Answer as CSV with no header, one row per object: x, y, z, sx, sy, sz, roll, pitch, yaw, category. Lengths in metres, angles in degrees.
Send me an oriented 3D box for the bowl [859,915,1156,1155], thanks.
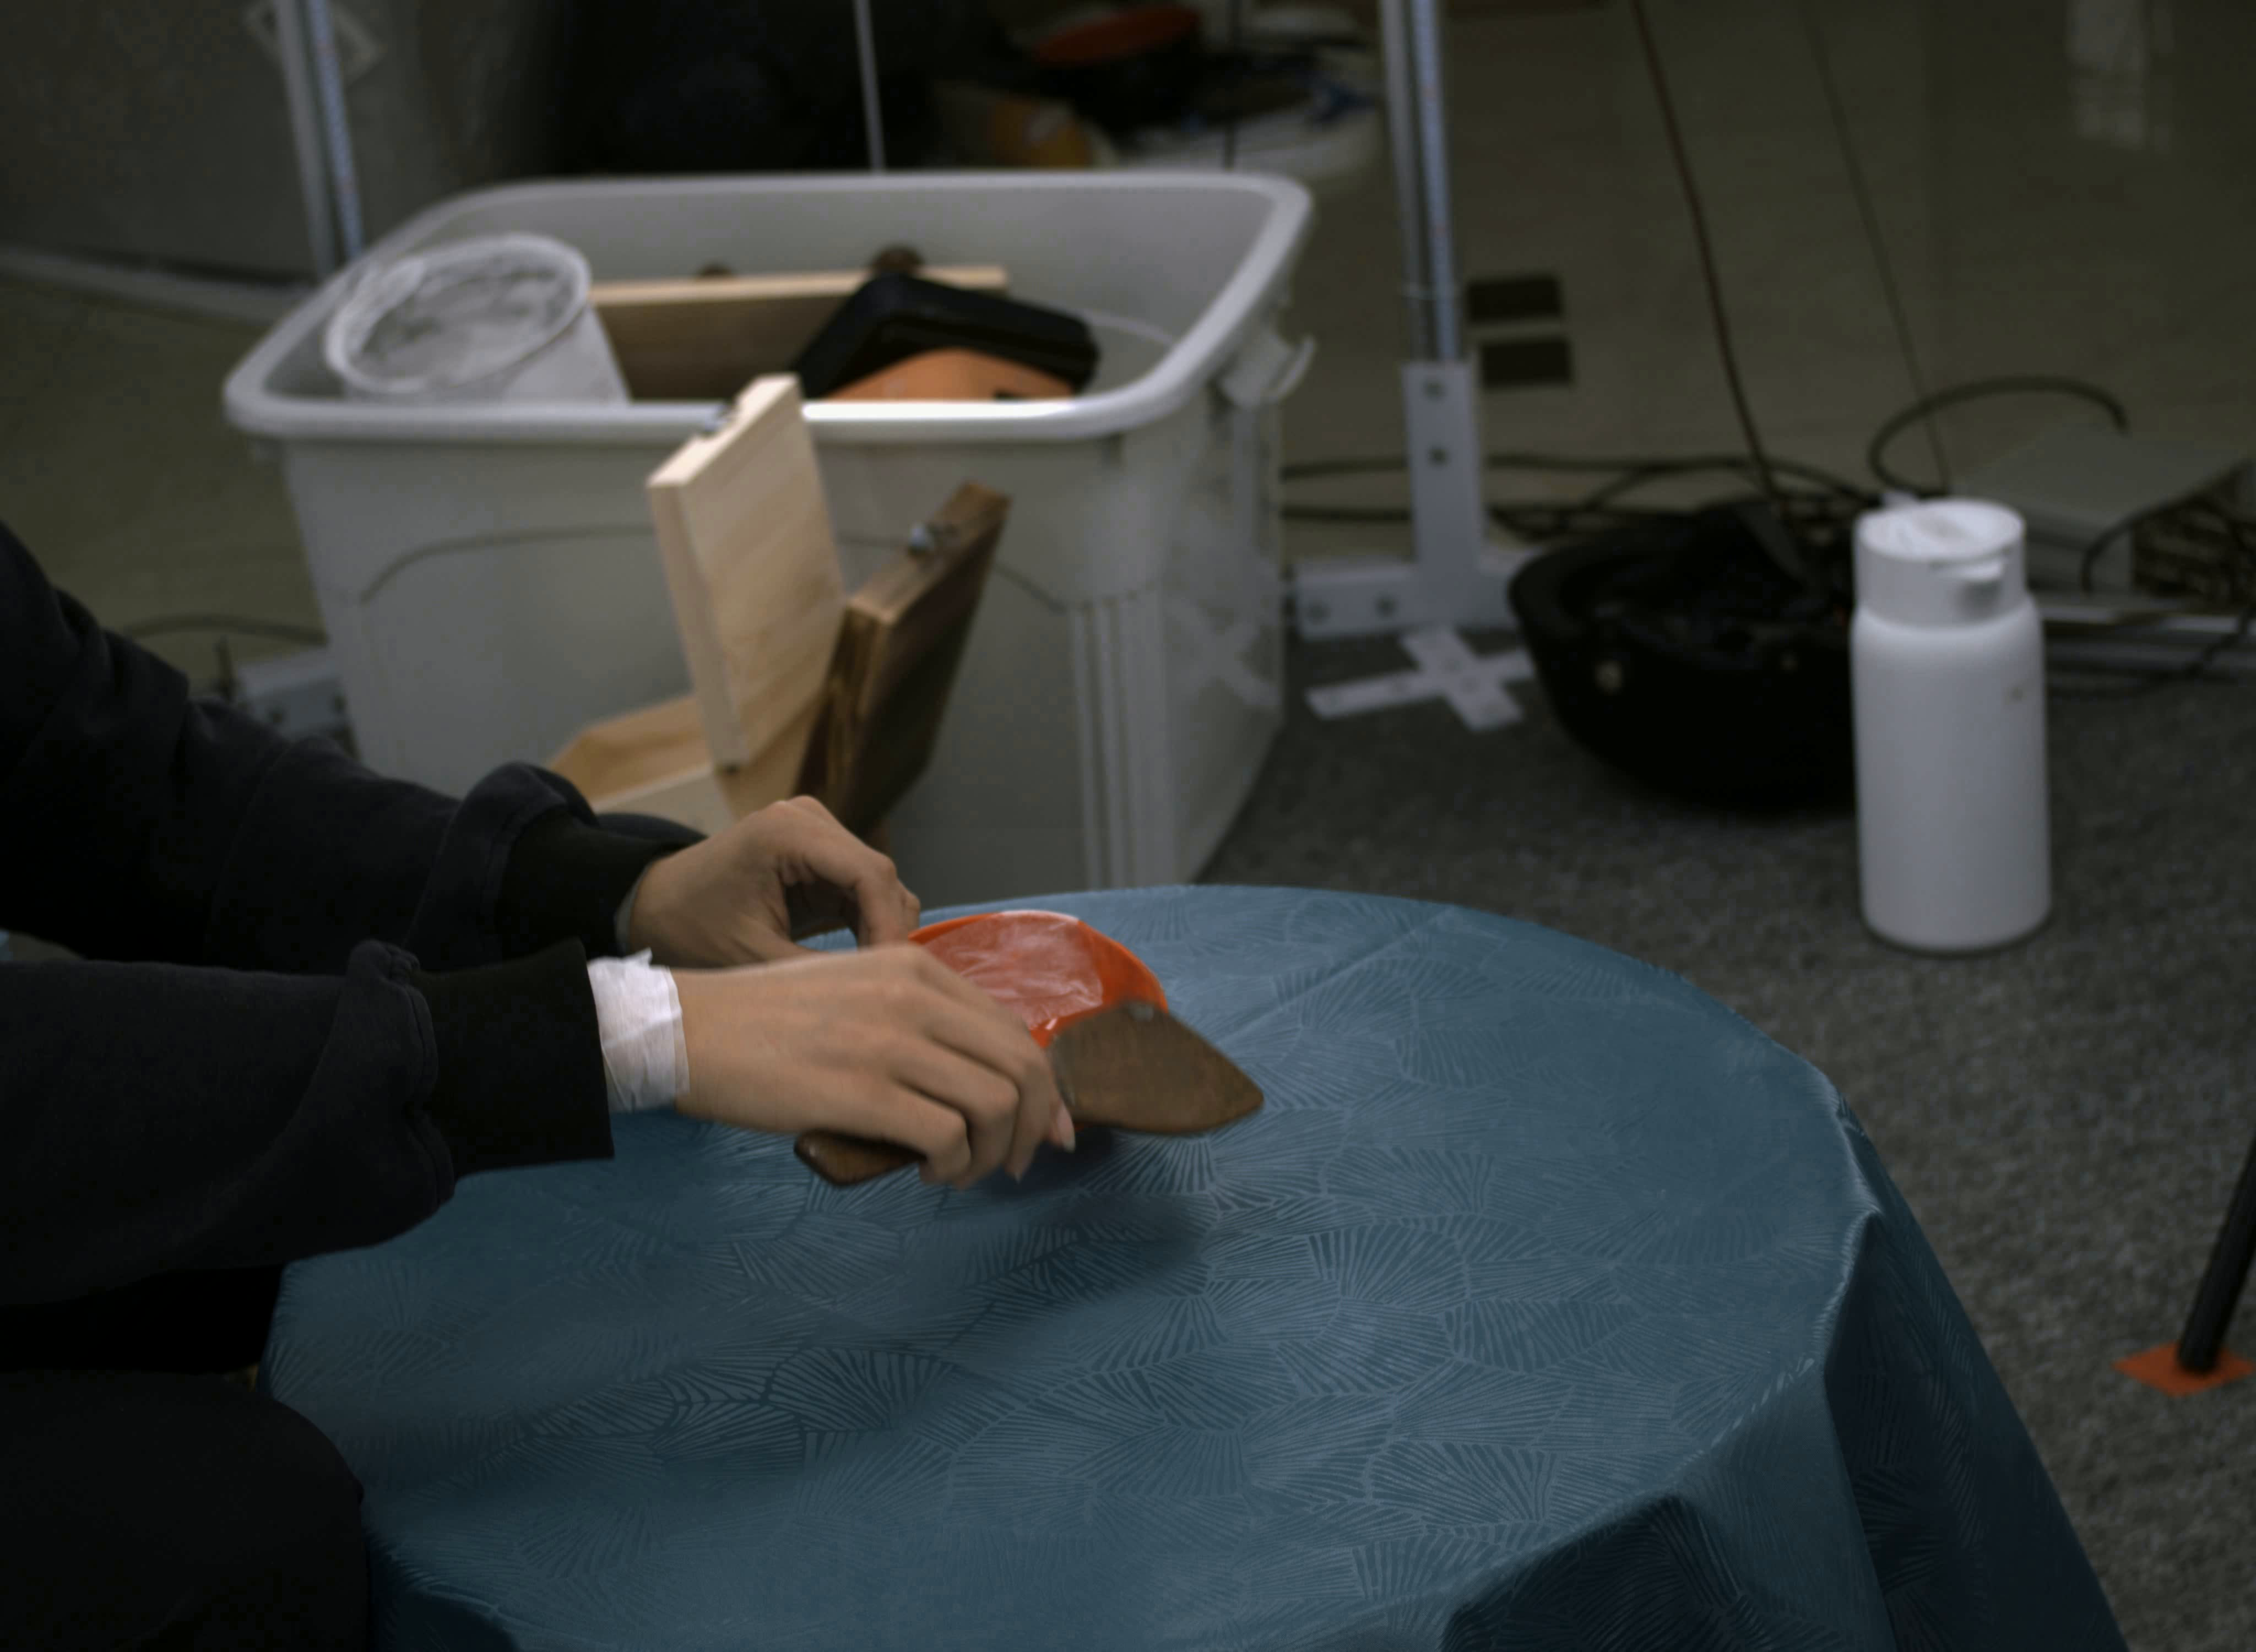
-0.048,0.087,2.203,0.119,0.052,0.117,6,33,-4,bowl

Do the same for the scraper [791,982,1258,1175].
-0.042,0.098,2.056,0.210,0.011,0.075,-13,46,-47,scraper
